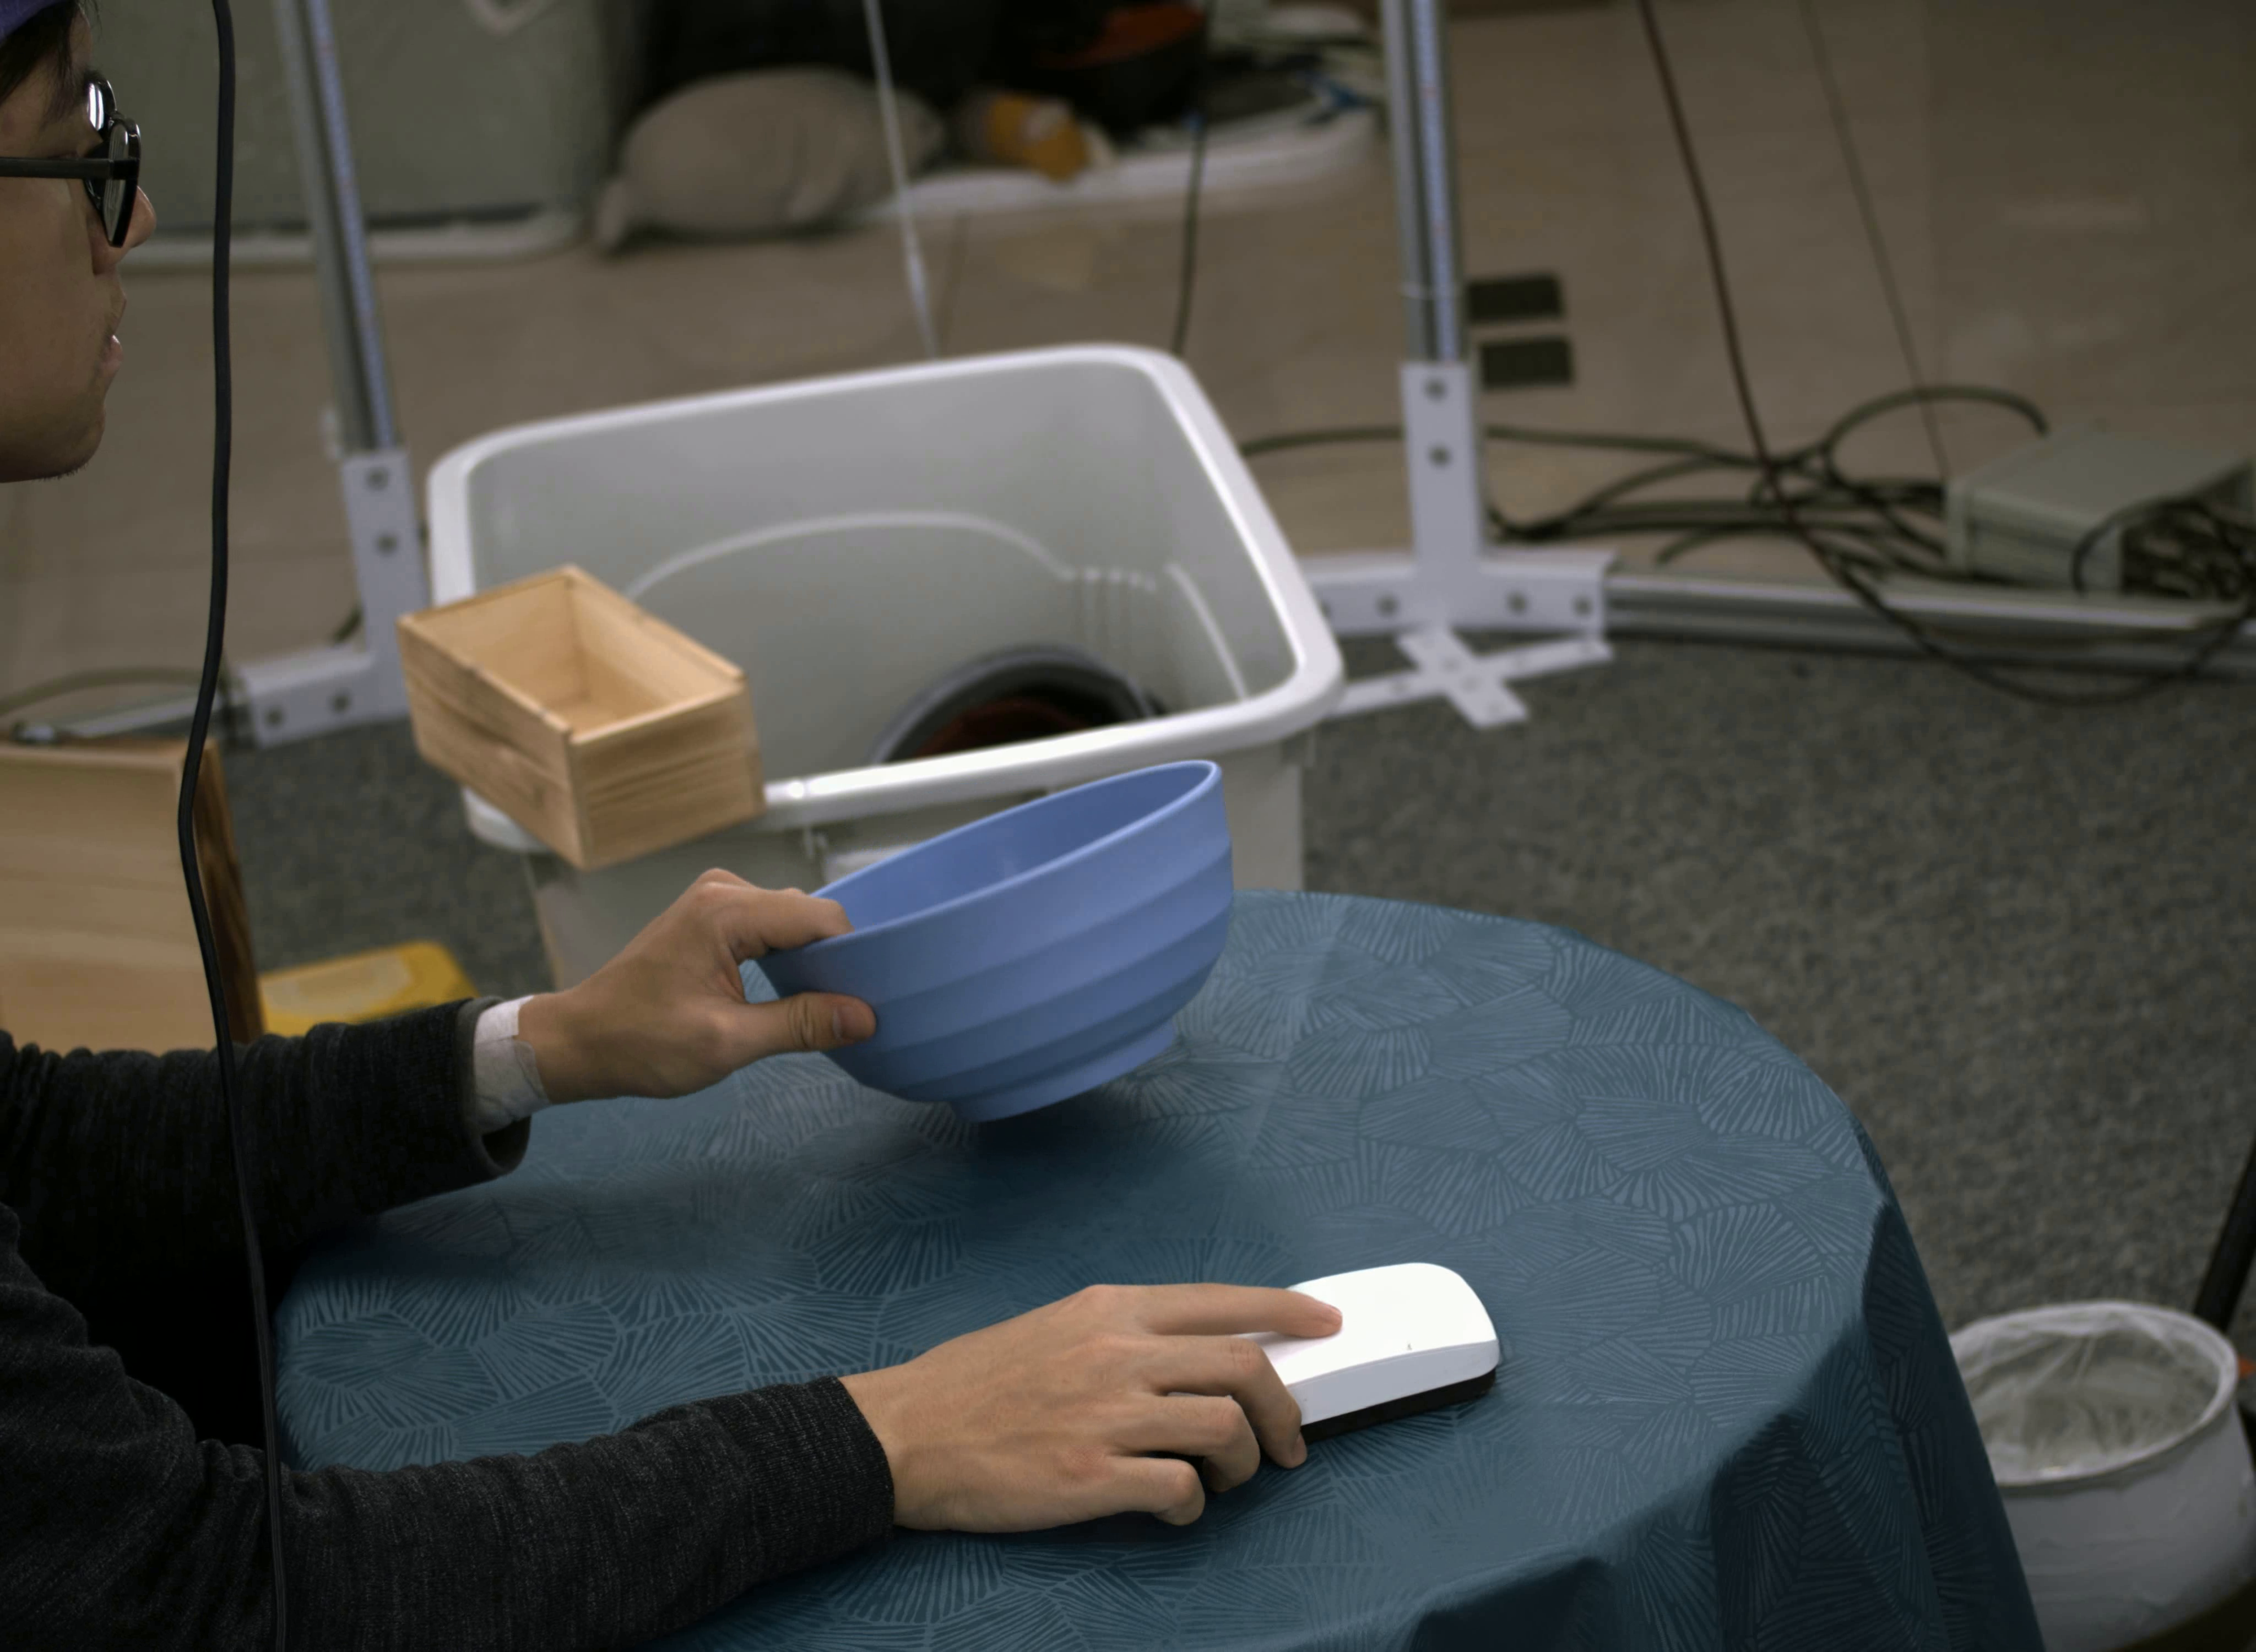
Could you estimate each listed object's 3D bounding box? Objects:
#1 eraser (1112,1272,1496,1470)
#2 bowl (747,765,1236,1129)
[{"bbox_3d":[0.061,0.188,1.990,0.131,0.035,0.062,-12,26,-15],"label":"eraser"},{"bbox_3d":[-0.040,0.056,2.194,0.196,0.096,0.195,-19,11,4],"label":"bowl"}]
